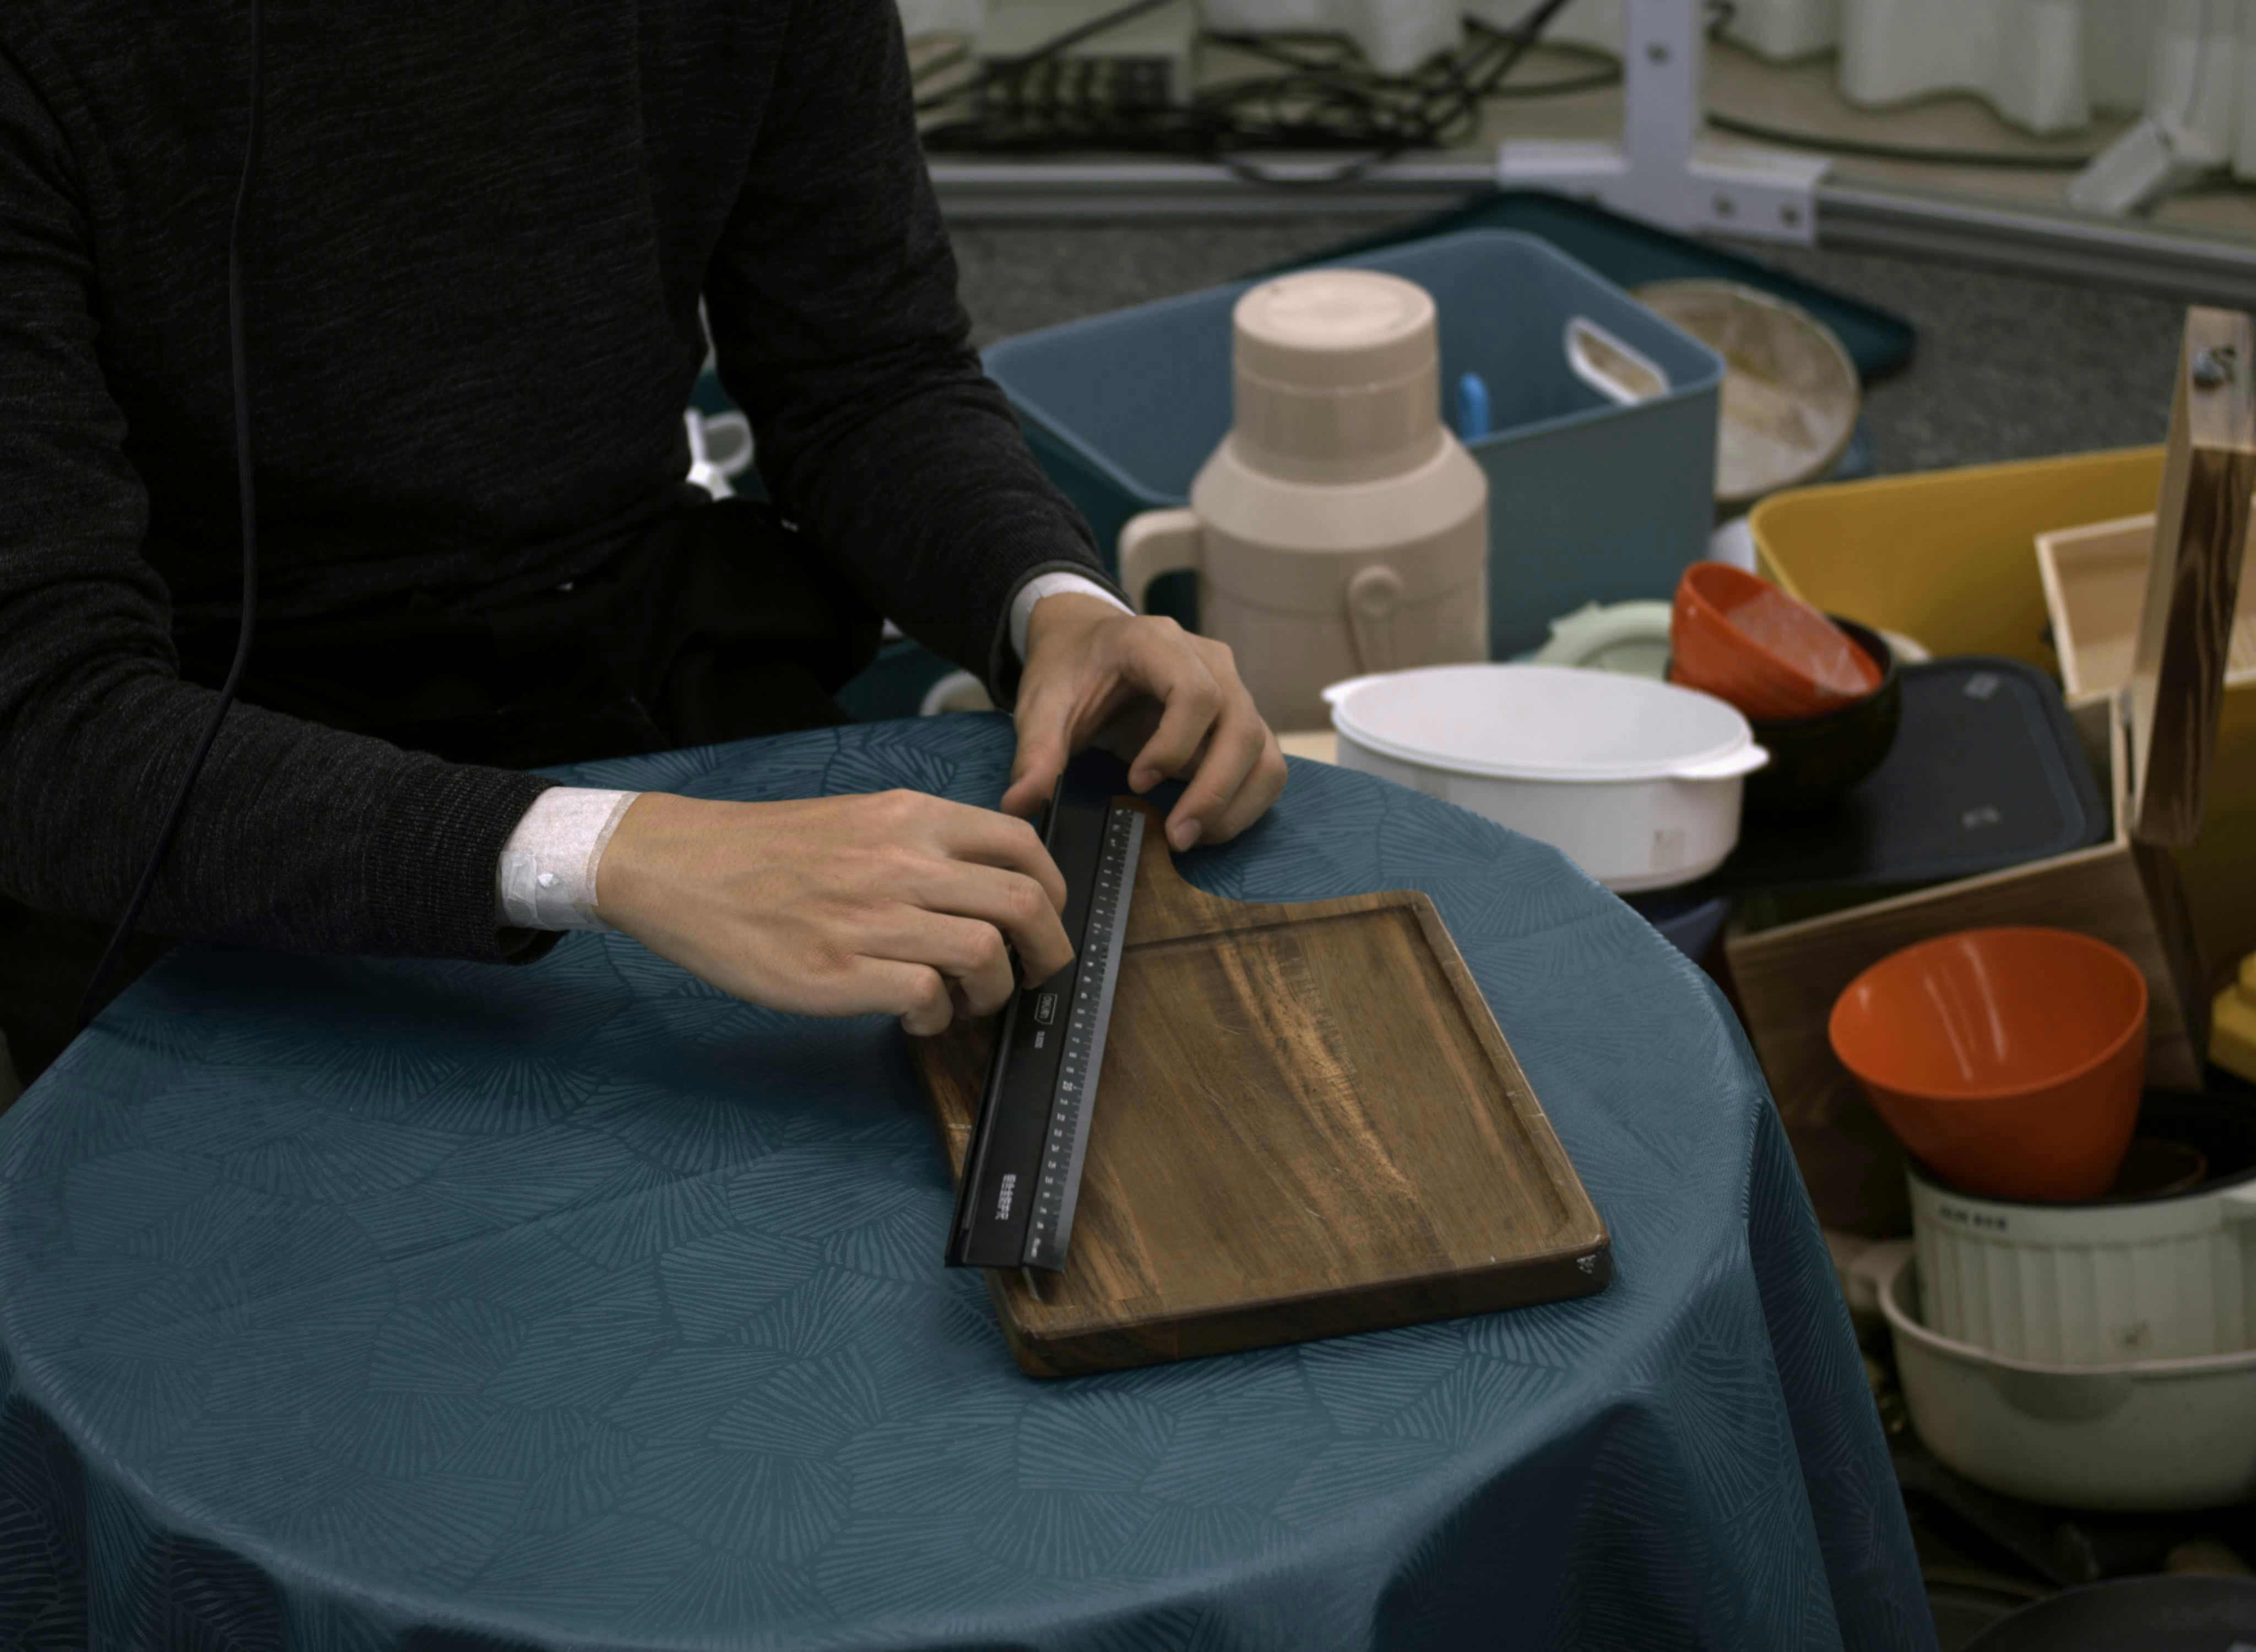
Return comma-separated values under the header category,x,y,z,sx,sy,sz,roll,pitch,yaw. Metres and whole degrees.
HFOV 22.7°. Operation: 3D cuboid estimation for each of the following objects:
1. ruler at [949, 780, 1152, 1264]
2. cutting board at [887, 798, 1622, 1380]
category,x,y,z,sx,sy,sz,roll,pitch,yaw
ruler,-0.024,0.061,1.904,0.039,0.017,0.317,5,27,3
cutting board,0.026,0.076,1.924,0.201,0.023,0.356,-8,27,-9
